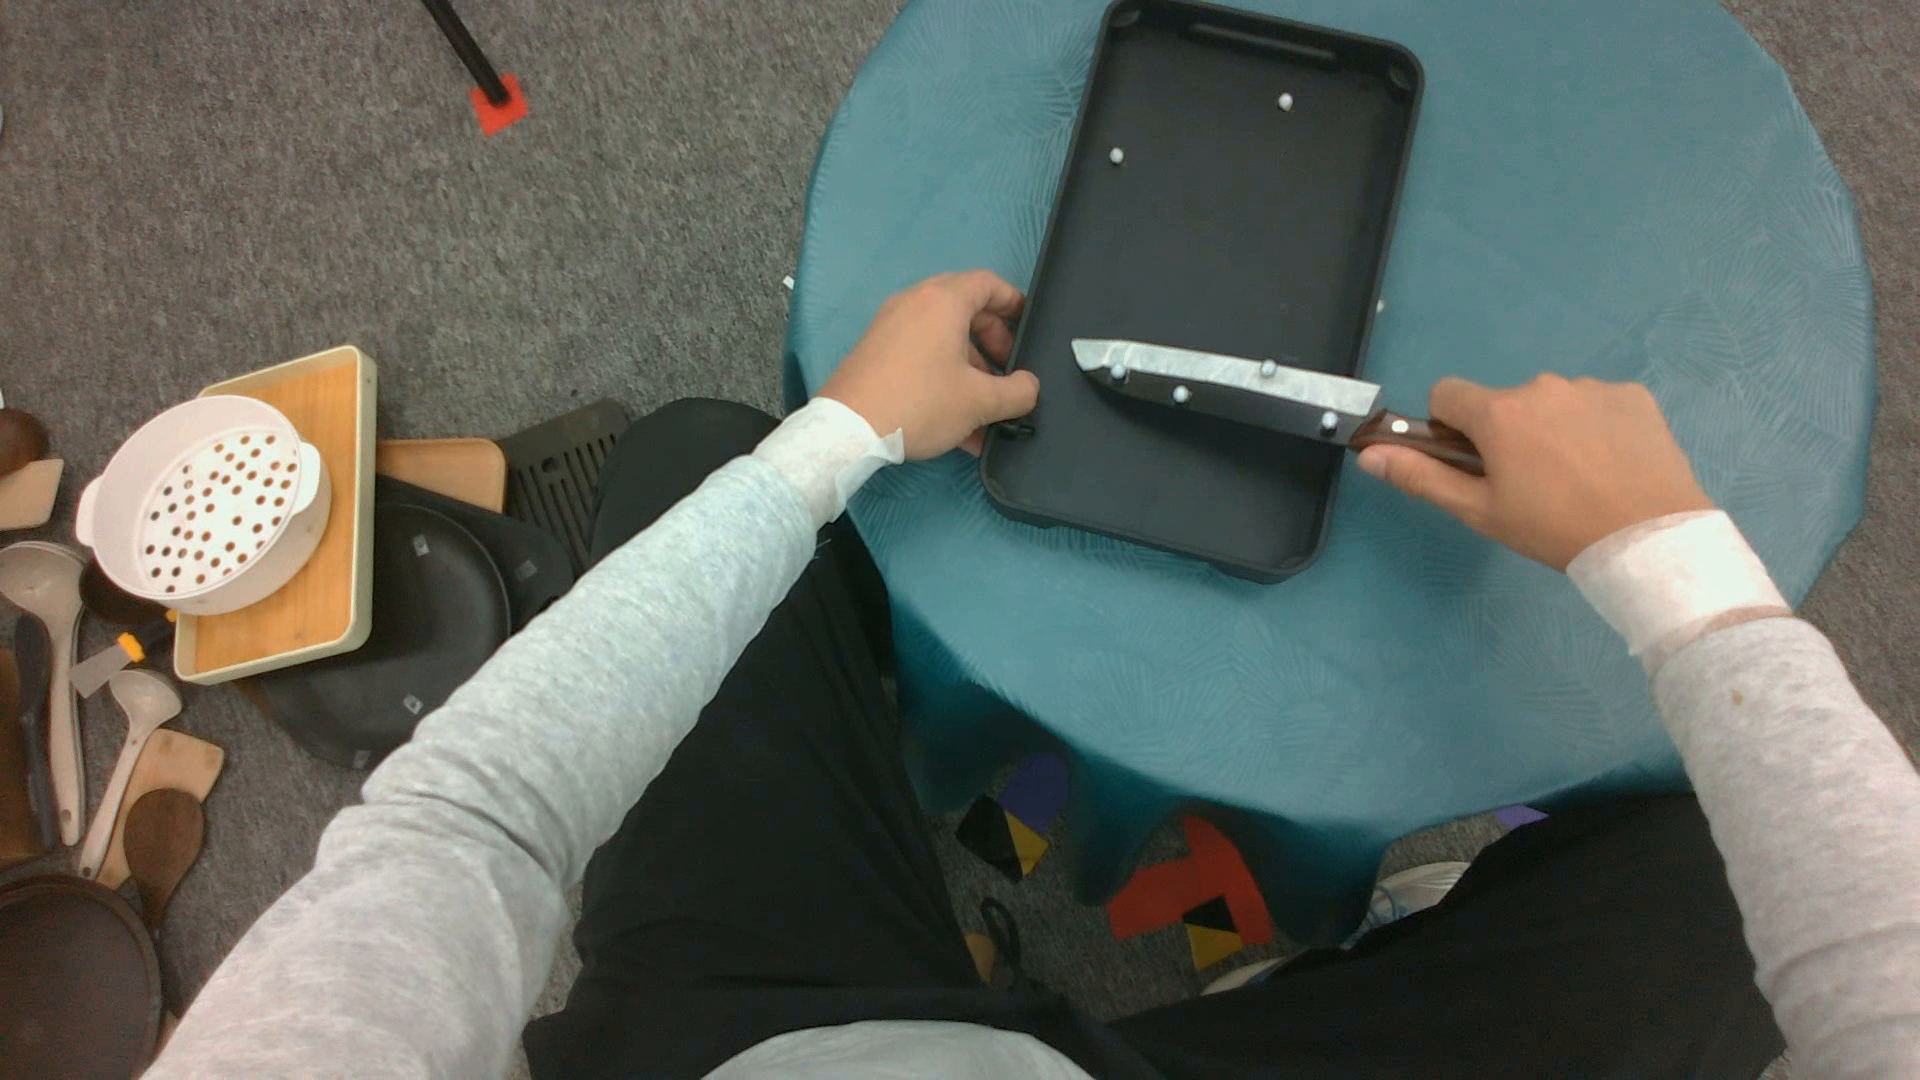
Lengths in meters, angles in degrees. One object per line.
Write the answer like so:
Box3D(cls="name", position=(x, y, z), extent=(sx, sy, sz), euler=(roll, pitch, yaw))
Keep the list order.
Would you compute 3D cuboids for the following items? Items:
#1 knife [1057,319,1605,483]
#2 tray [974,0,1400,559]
Box3D(cls="knife", position=(0.178, -0.077, 0.703), extent=(0.289, 0.020, 0.050), euler=(19, 57, 23))
Box3D(cls="tray", position=(0.127, -0.156, 0.758), extent=(0.184, 0.037, 0.318), euler=(12, 76, 4))
